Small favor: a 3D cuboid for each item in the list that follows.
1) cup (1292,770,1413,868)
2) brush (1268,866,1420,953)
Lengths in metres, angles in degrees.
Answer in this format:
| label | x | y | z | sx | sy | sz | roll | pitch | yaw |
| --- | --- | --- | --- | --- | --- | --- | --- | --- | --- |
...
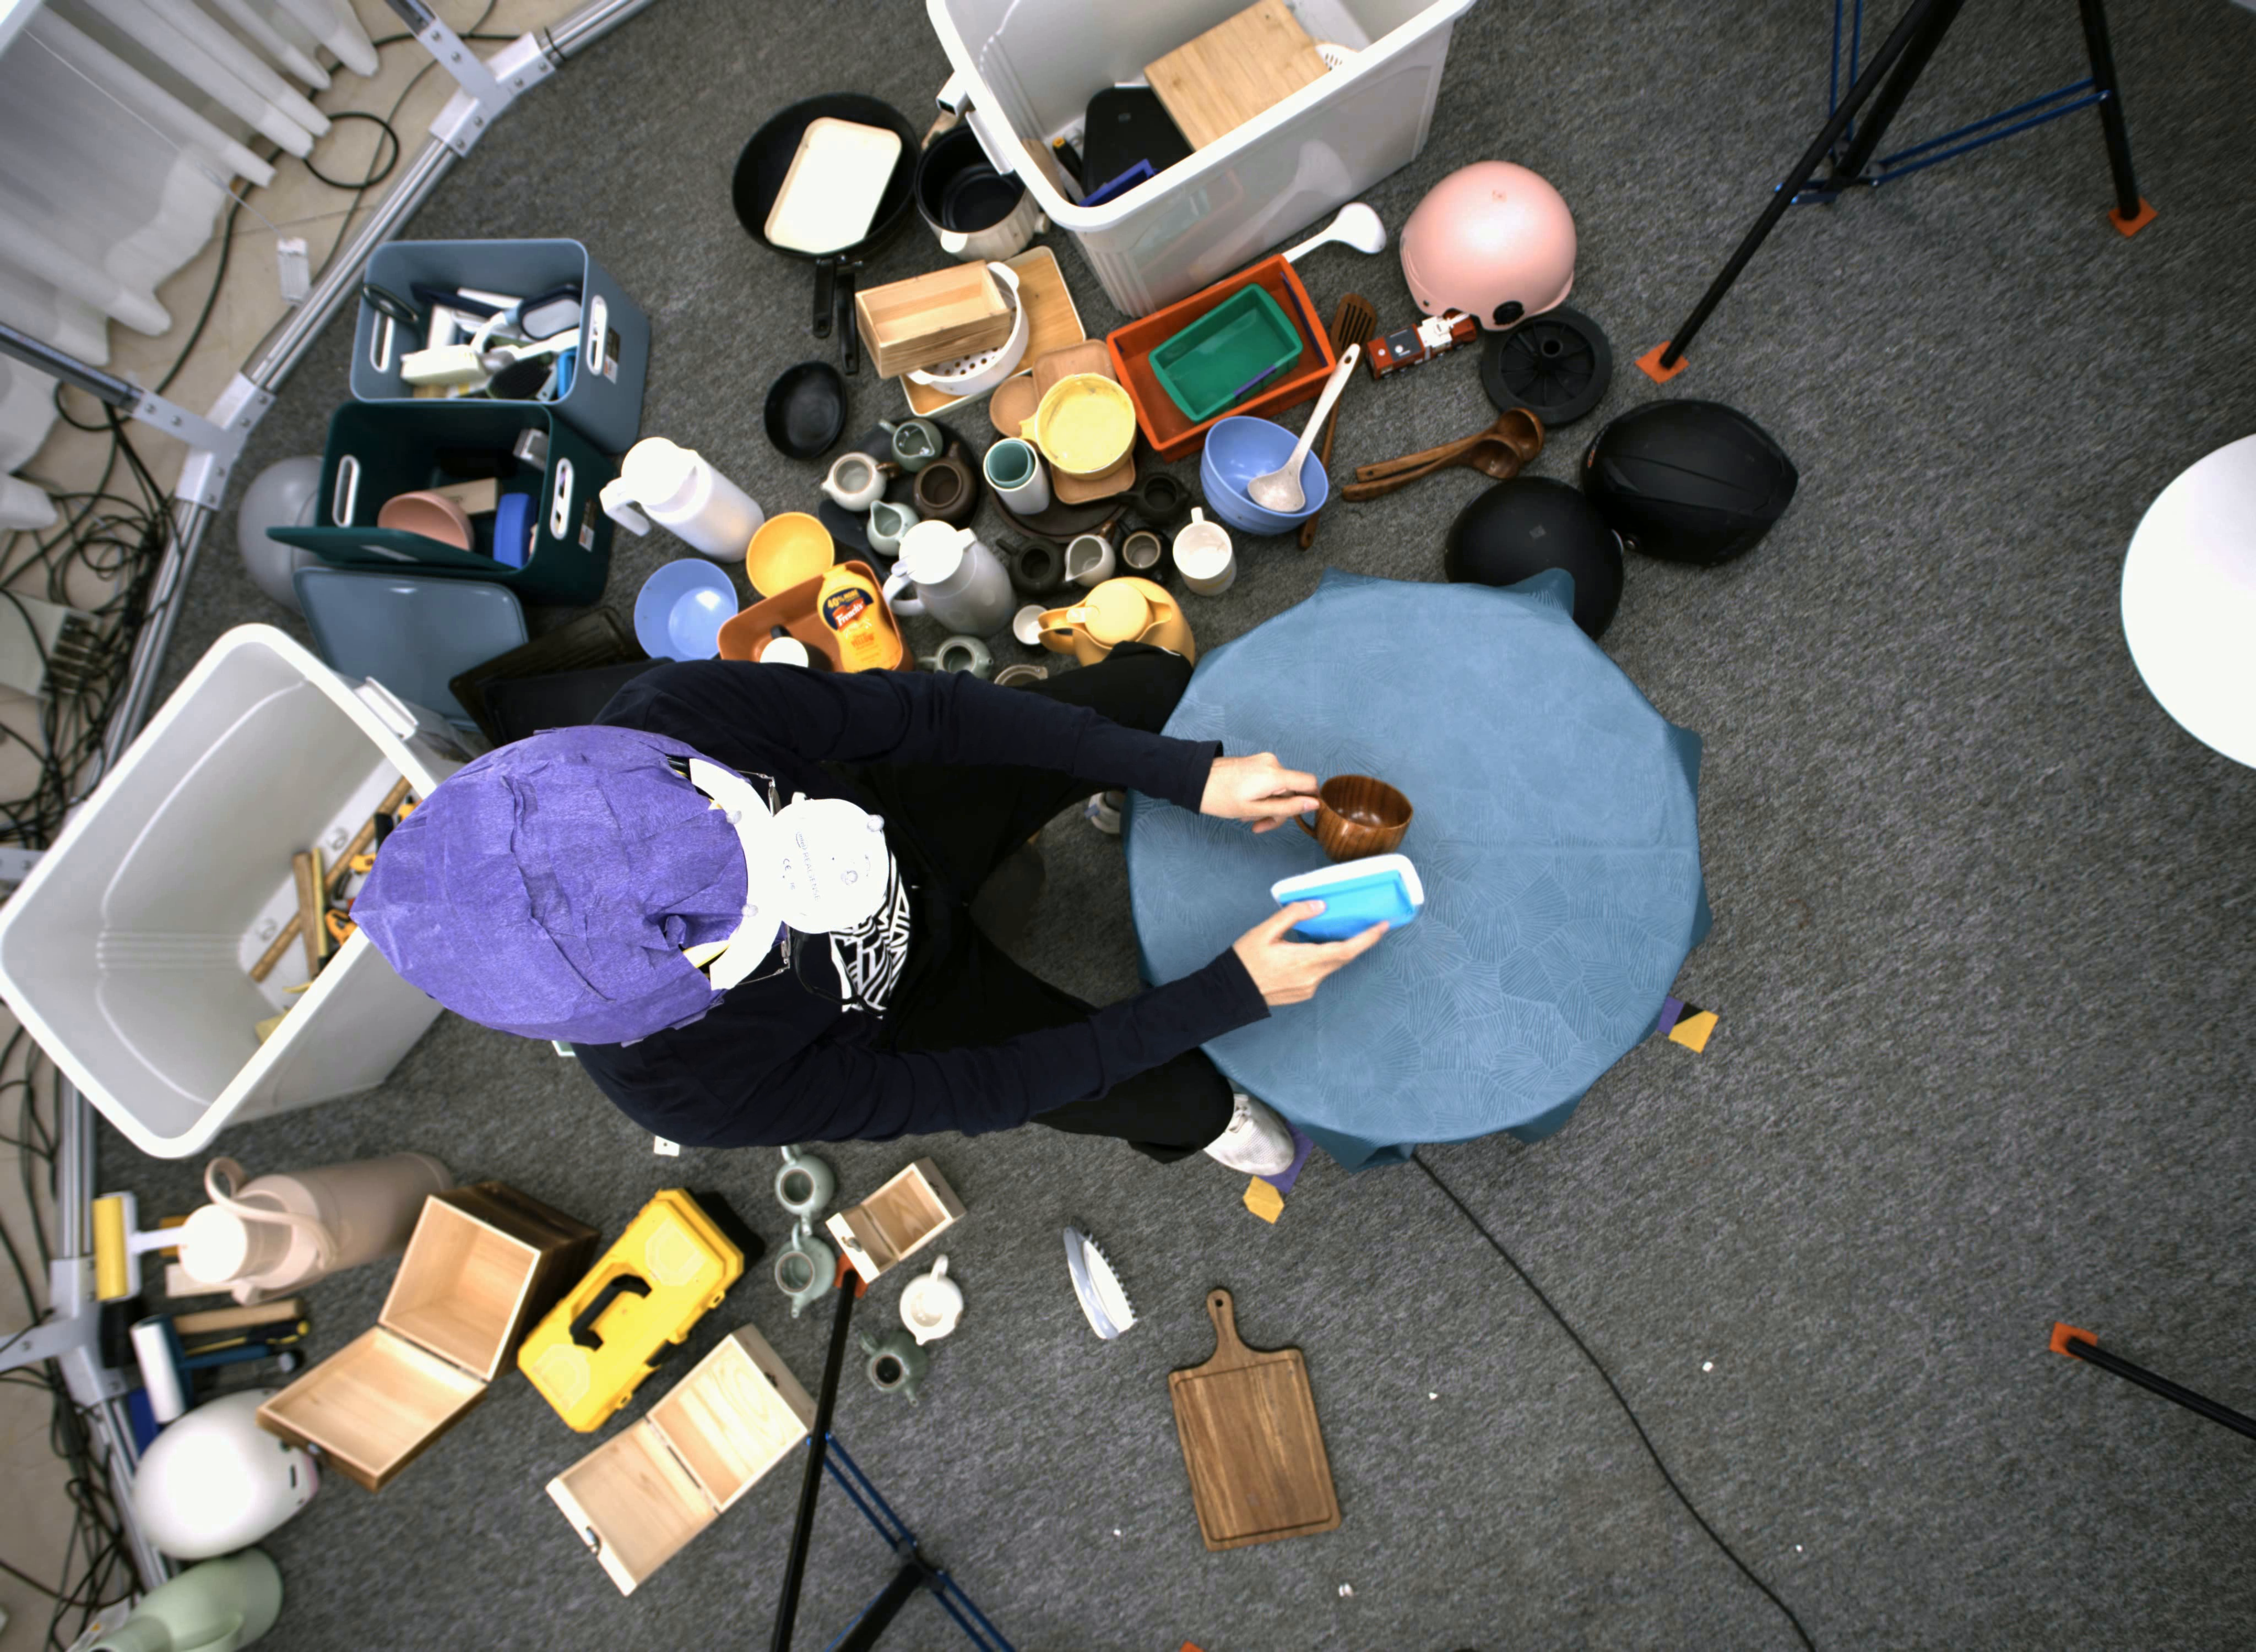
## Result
| label | x | y | z | sx | sy | sz | roll | pitch | yaw |
| --- | --- | --- | --- | --- | --- | --- | --- | --- | --- |
| cup | 0.221 | -0.004 | 1.389 | 0.119 | 0.093 | 0.069 | 4 | 132 | -4 |
| brush | 0.212 | 0.088 | 1.353 | 0.145 | 0.085 | 0.054 | -13 | 44 | 15 |
